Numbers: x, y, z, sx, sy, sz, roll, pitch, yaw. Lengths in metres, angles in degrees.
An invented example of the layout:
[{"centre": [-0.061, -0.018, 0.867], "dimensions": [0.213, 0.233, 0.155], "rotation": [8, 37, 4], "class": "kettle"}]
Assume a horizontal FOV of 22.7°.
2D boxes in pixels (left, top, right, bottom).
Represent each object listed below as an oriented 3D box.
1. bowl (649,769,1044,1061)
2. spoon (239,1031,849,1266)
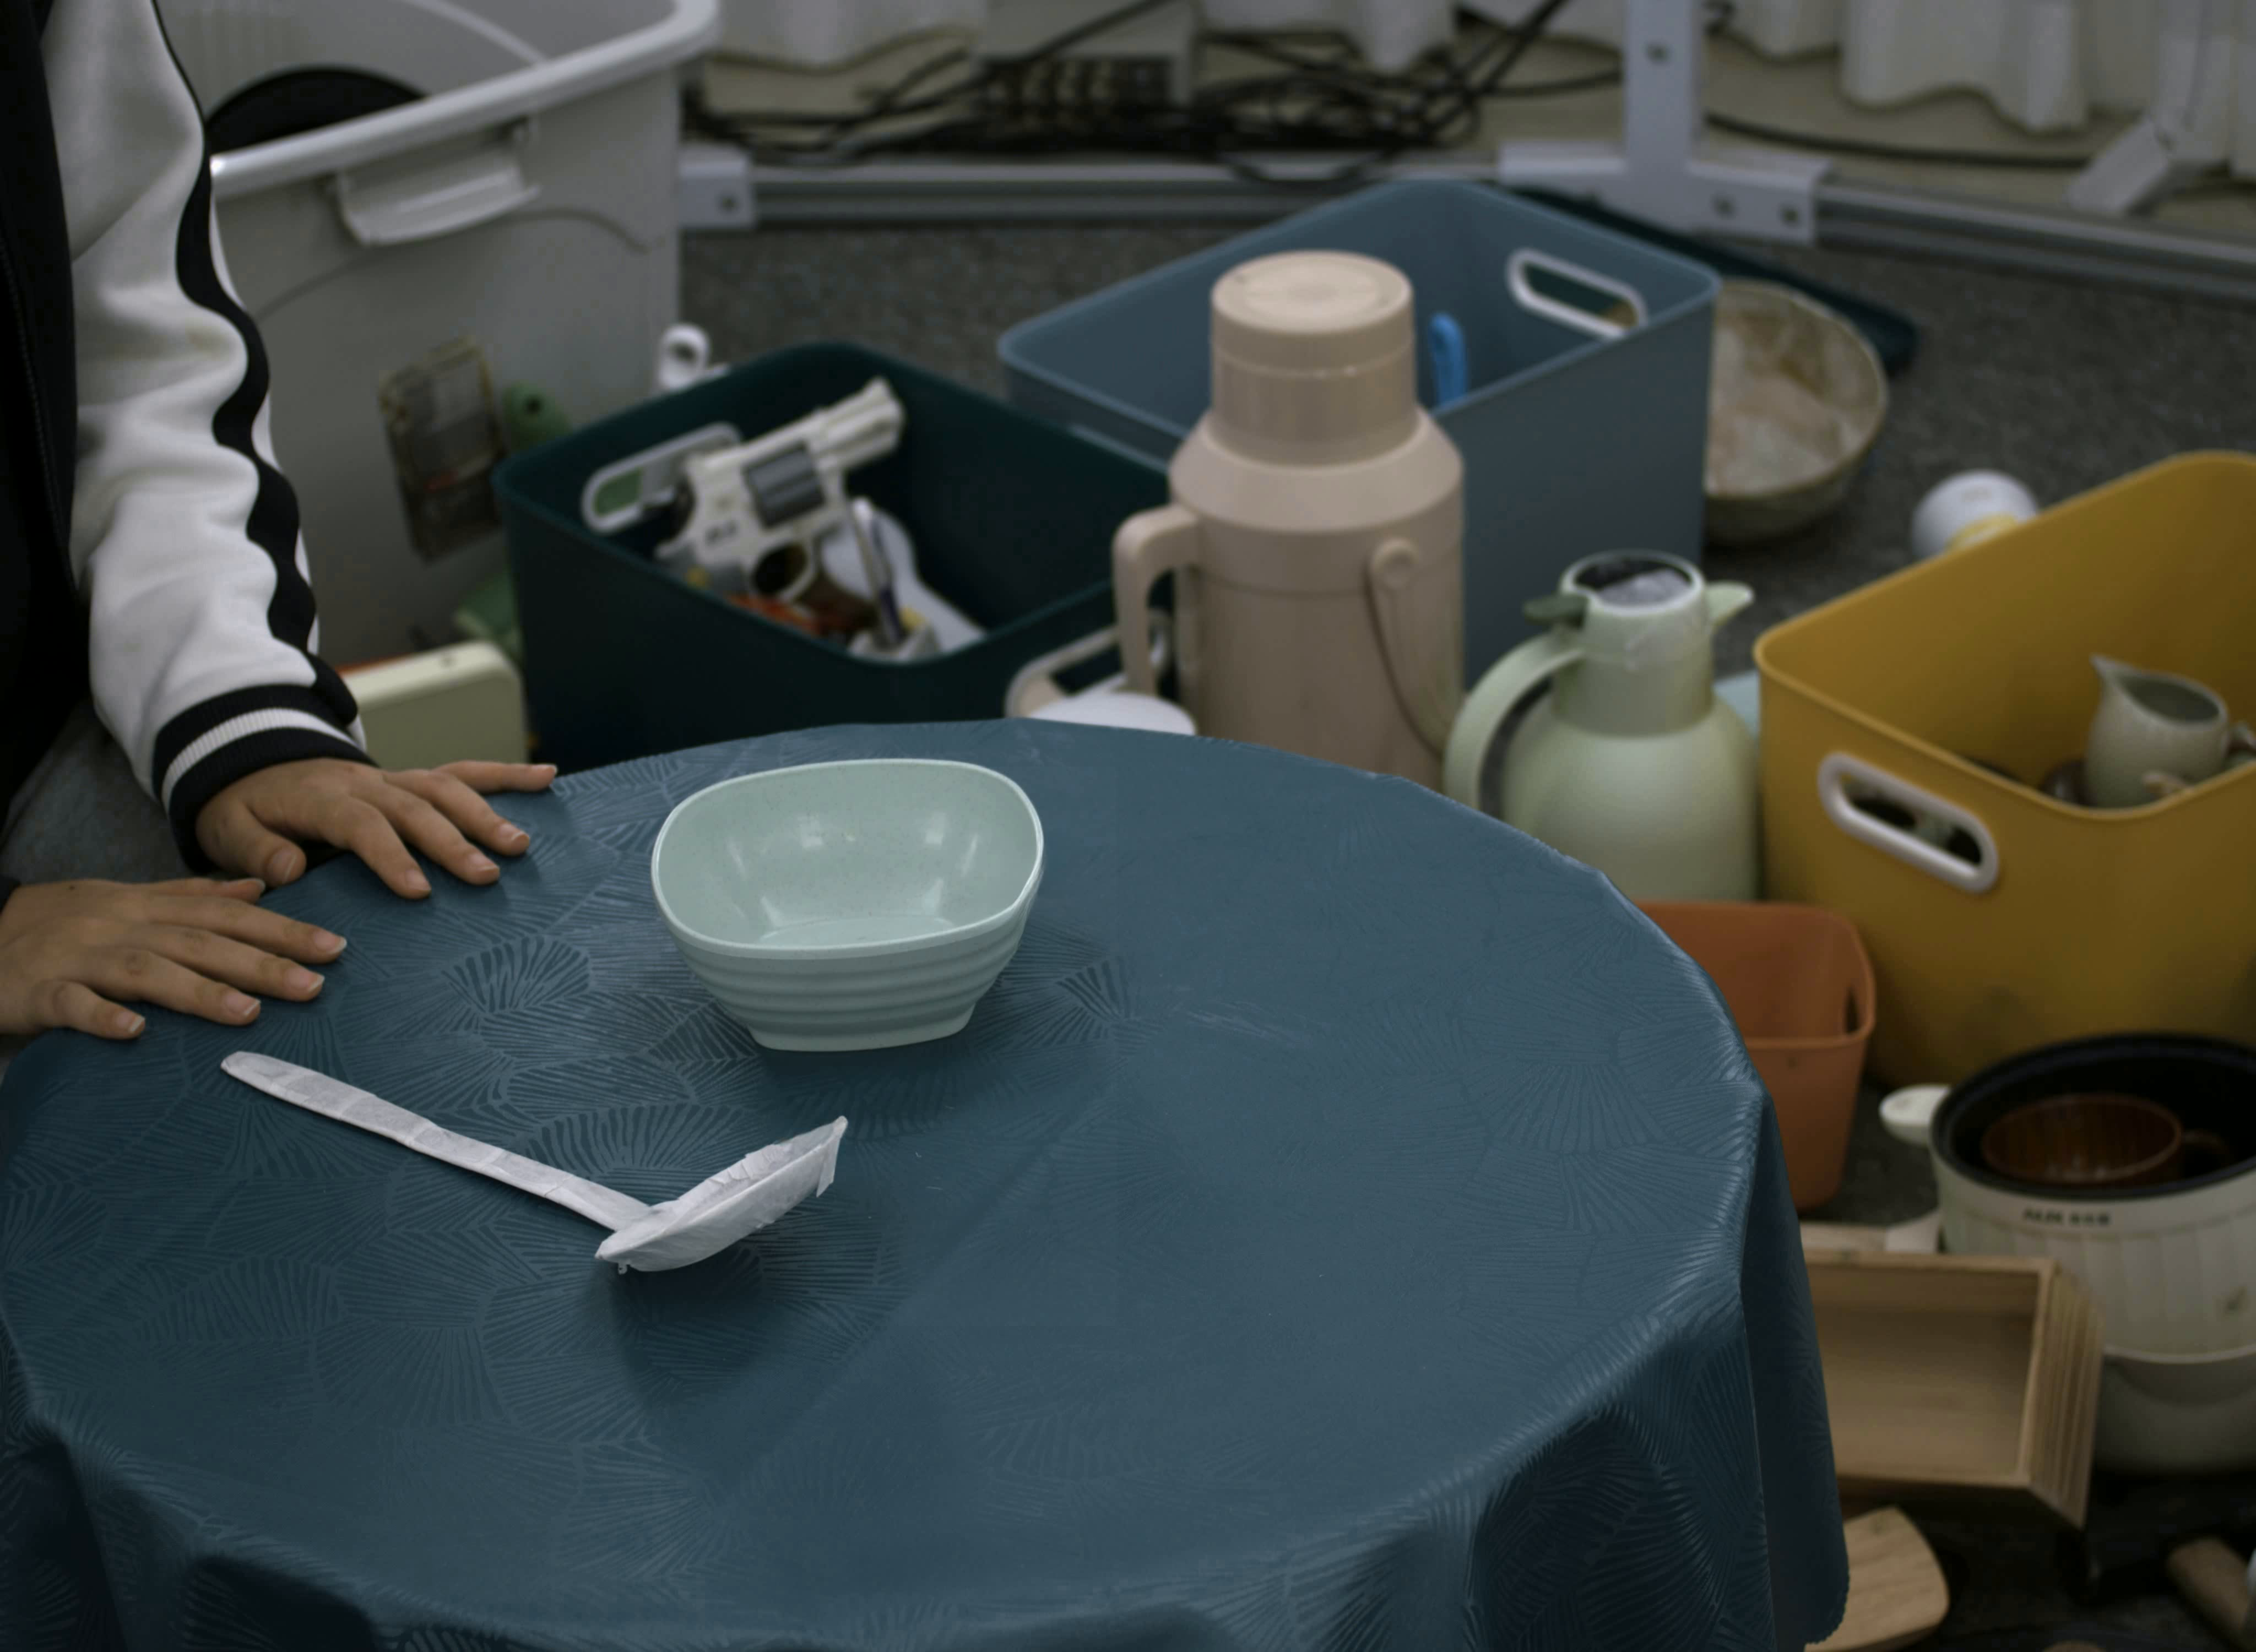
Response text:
[{"centre": [-0.097, 0.037, 1.979], "dimensions": [0.151, 0.058, 0.154], "rotation": [-2, 27, 2], "class": "bowl"}, {"centre": [-0.204, 0.090, 1.882], "dimensions": [0.276, 0.059, 0.102], "rotation": [20, 31, 37], "class": "spoon"}]
